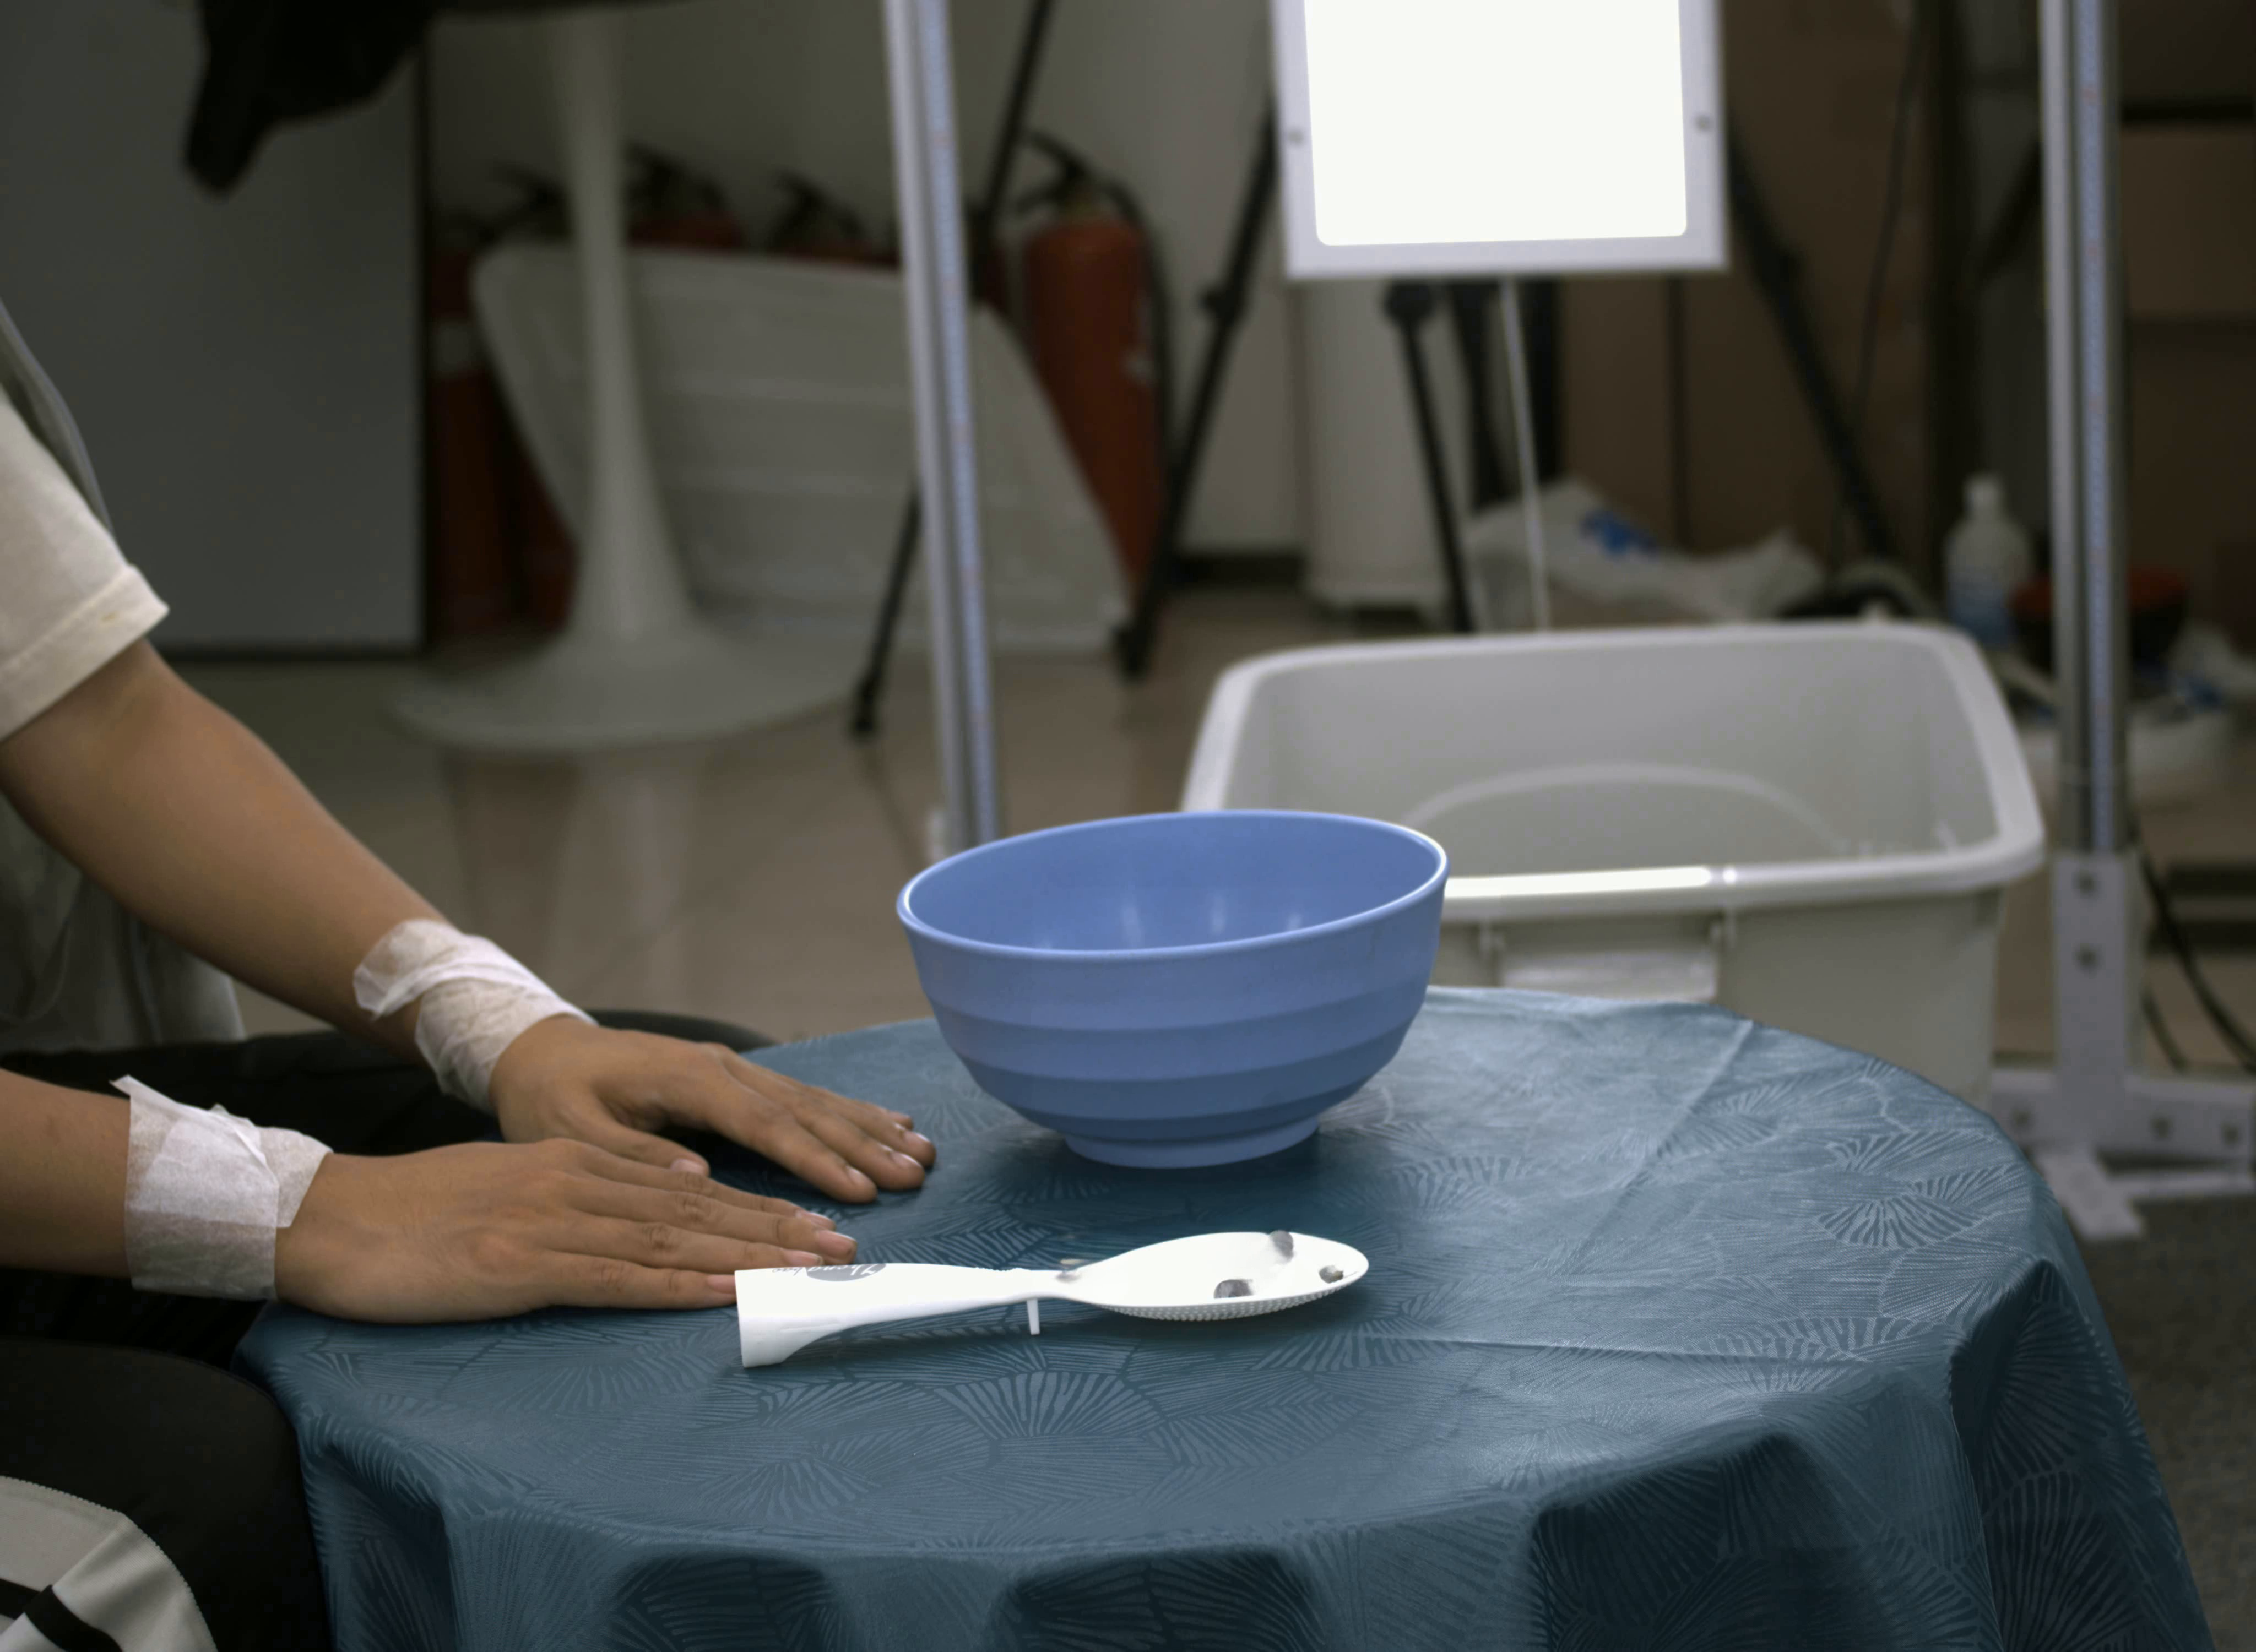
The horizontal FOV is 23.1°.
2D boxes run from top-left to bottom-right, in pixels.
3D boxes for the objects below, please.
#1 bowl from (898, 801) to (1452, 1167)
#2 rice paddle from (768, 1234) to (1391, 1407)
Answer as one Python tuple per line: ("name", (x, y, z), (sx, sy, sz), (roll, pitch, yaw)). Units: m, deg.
("bowl", (0.019, 0.062, 1.950), (0.196, 0.096, 0.196), (-4, 15, 0))
("rice paddle", (-0.013, 0.150, 1.763), (0.203, 0.029, 0.069), (-11, 2, -11))
